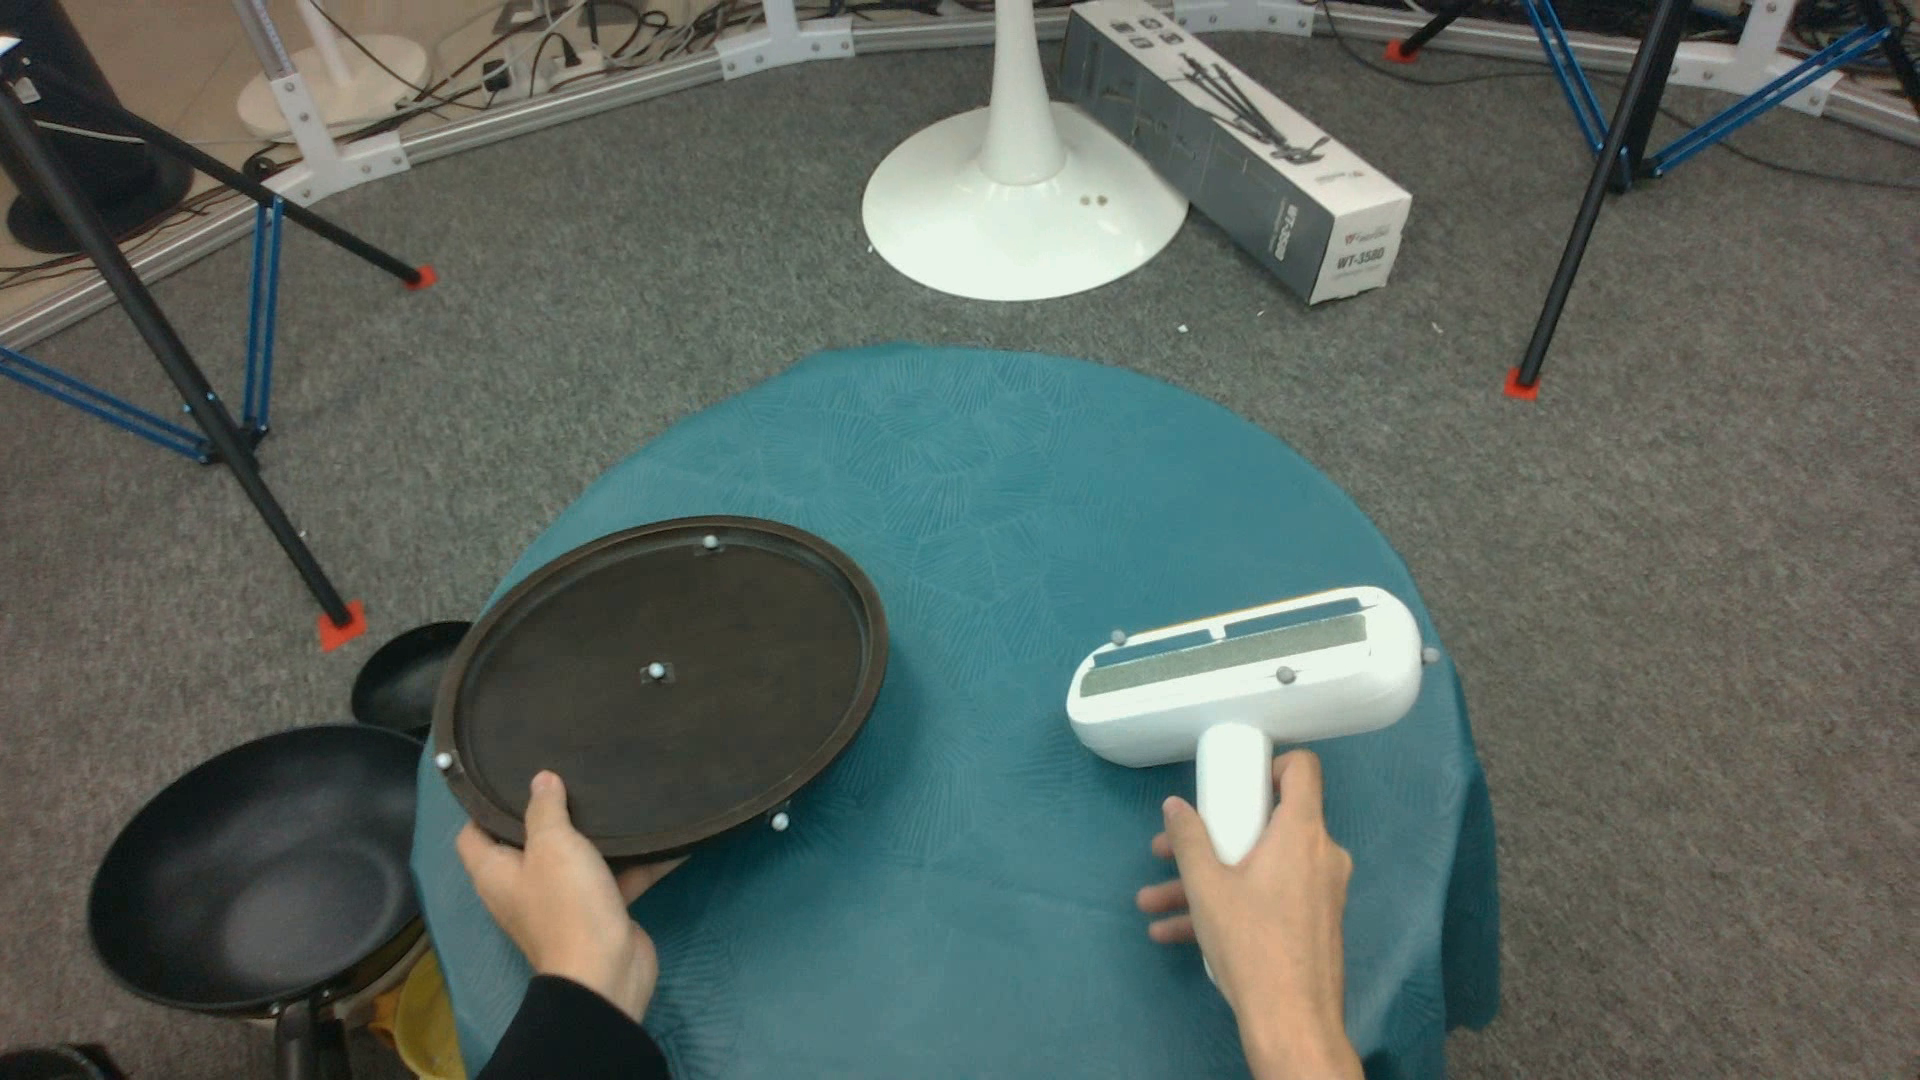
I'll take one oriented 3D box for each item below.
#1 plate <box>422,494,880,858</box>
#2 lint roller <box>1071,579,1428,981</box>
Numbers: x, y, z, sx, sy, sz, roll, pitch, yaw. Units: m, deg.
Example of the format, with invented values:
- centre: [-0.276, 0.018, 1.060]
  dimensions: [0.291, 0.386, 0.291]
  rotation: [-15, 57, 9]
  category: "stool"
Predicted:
- centre: [-0.170, 0.070, 0.769]
  dimensions: [0.254, 0.029, 0.256]
  rotation: [-5, 43, 5]
  category: "plate"
- centre: [0.134, 0.117, 0.683]
  dimensions: [0.192, 0.074, 0.193]
  rotation: [-10, 48, 35]
  category: "lint roller"
